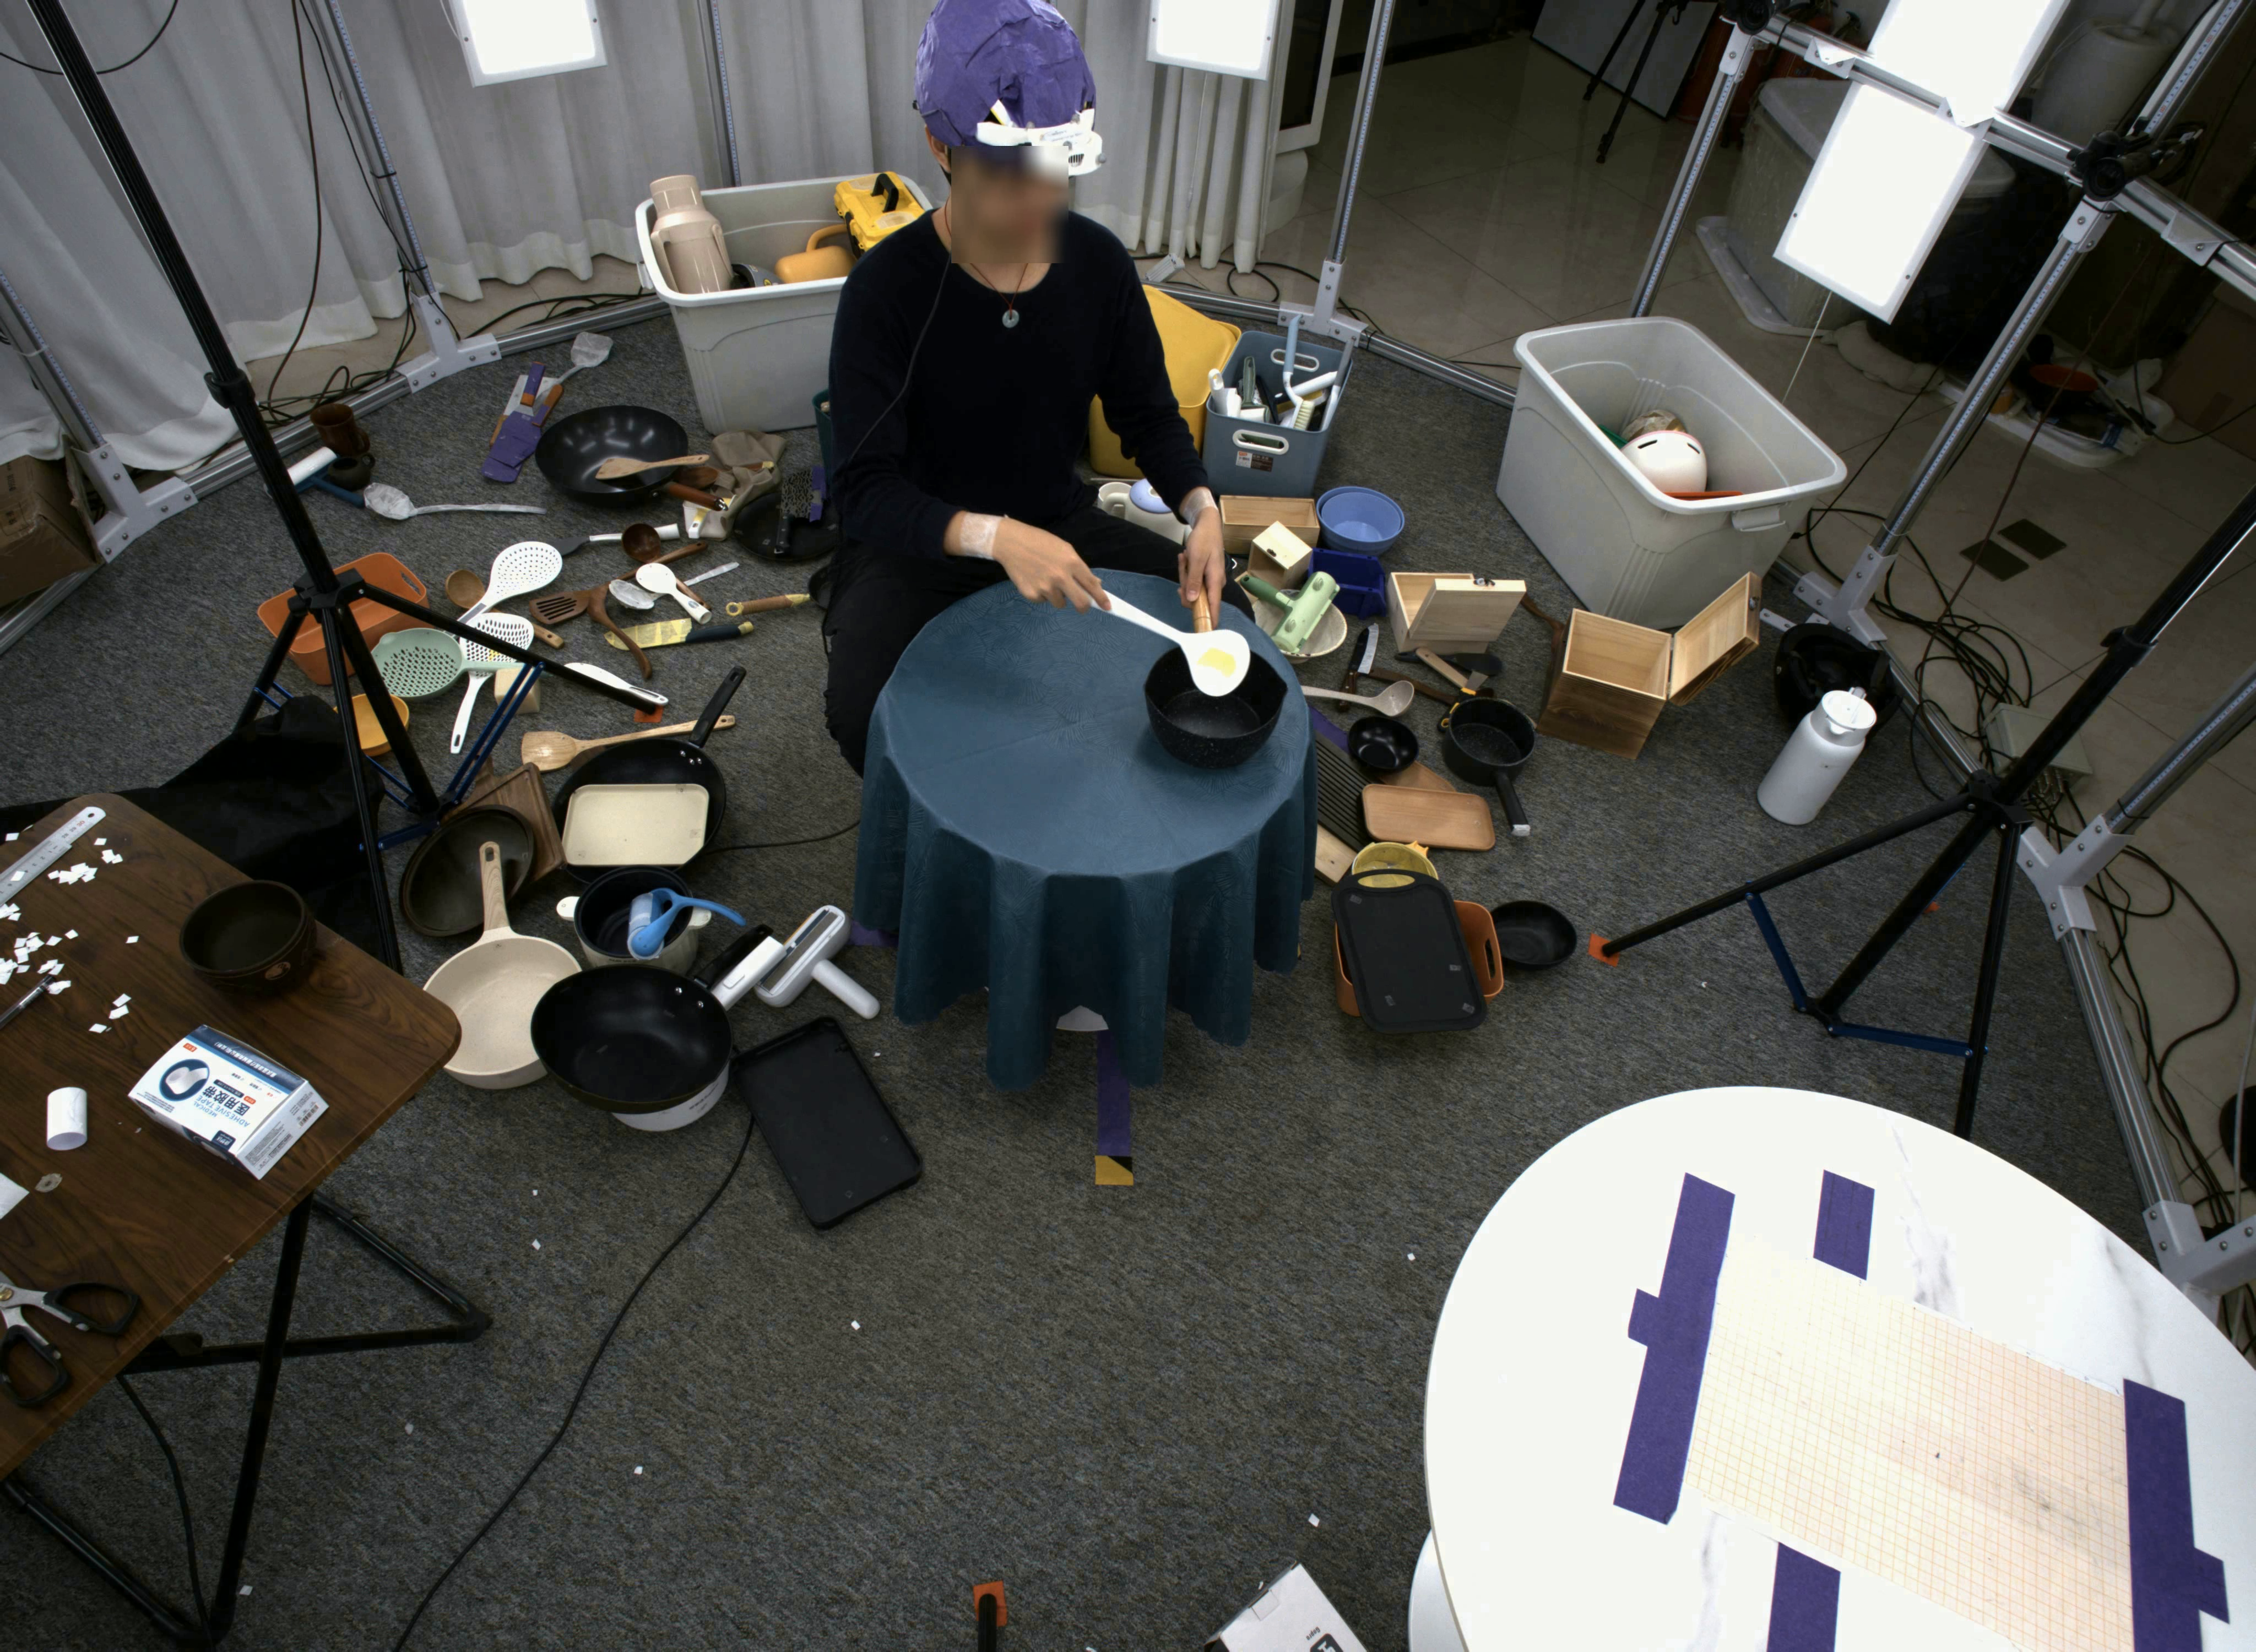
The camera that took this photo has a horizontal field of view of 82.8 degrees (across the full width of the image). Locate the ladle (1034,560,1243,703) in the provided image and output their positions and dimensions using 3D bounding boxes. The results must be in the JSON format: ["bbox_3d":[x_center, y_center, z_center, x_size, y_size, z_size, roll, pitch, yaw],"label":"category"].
[{"bbox_3d":[0.013,-0.258,1.669,0.291,0.089,0.071,26,23,-15],"label":"ladle"}]

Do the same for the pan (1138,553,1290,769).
[{"bbox_3d":[0.107,-0.231,1.804,0.207,0.105,0.351,-3,52,-5],"label":"pan"}]
